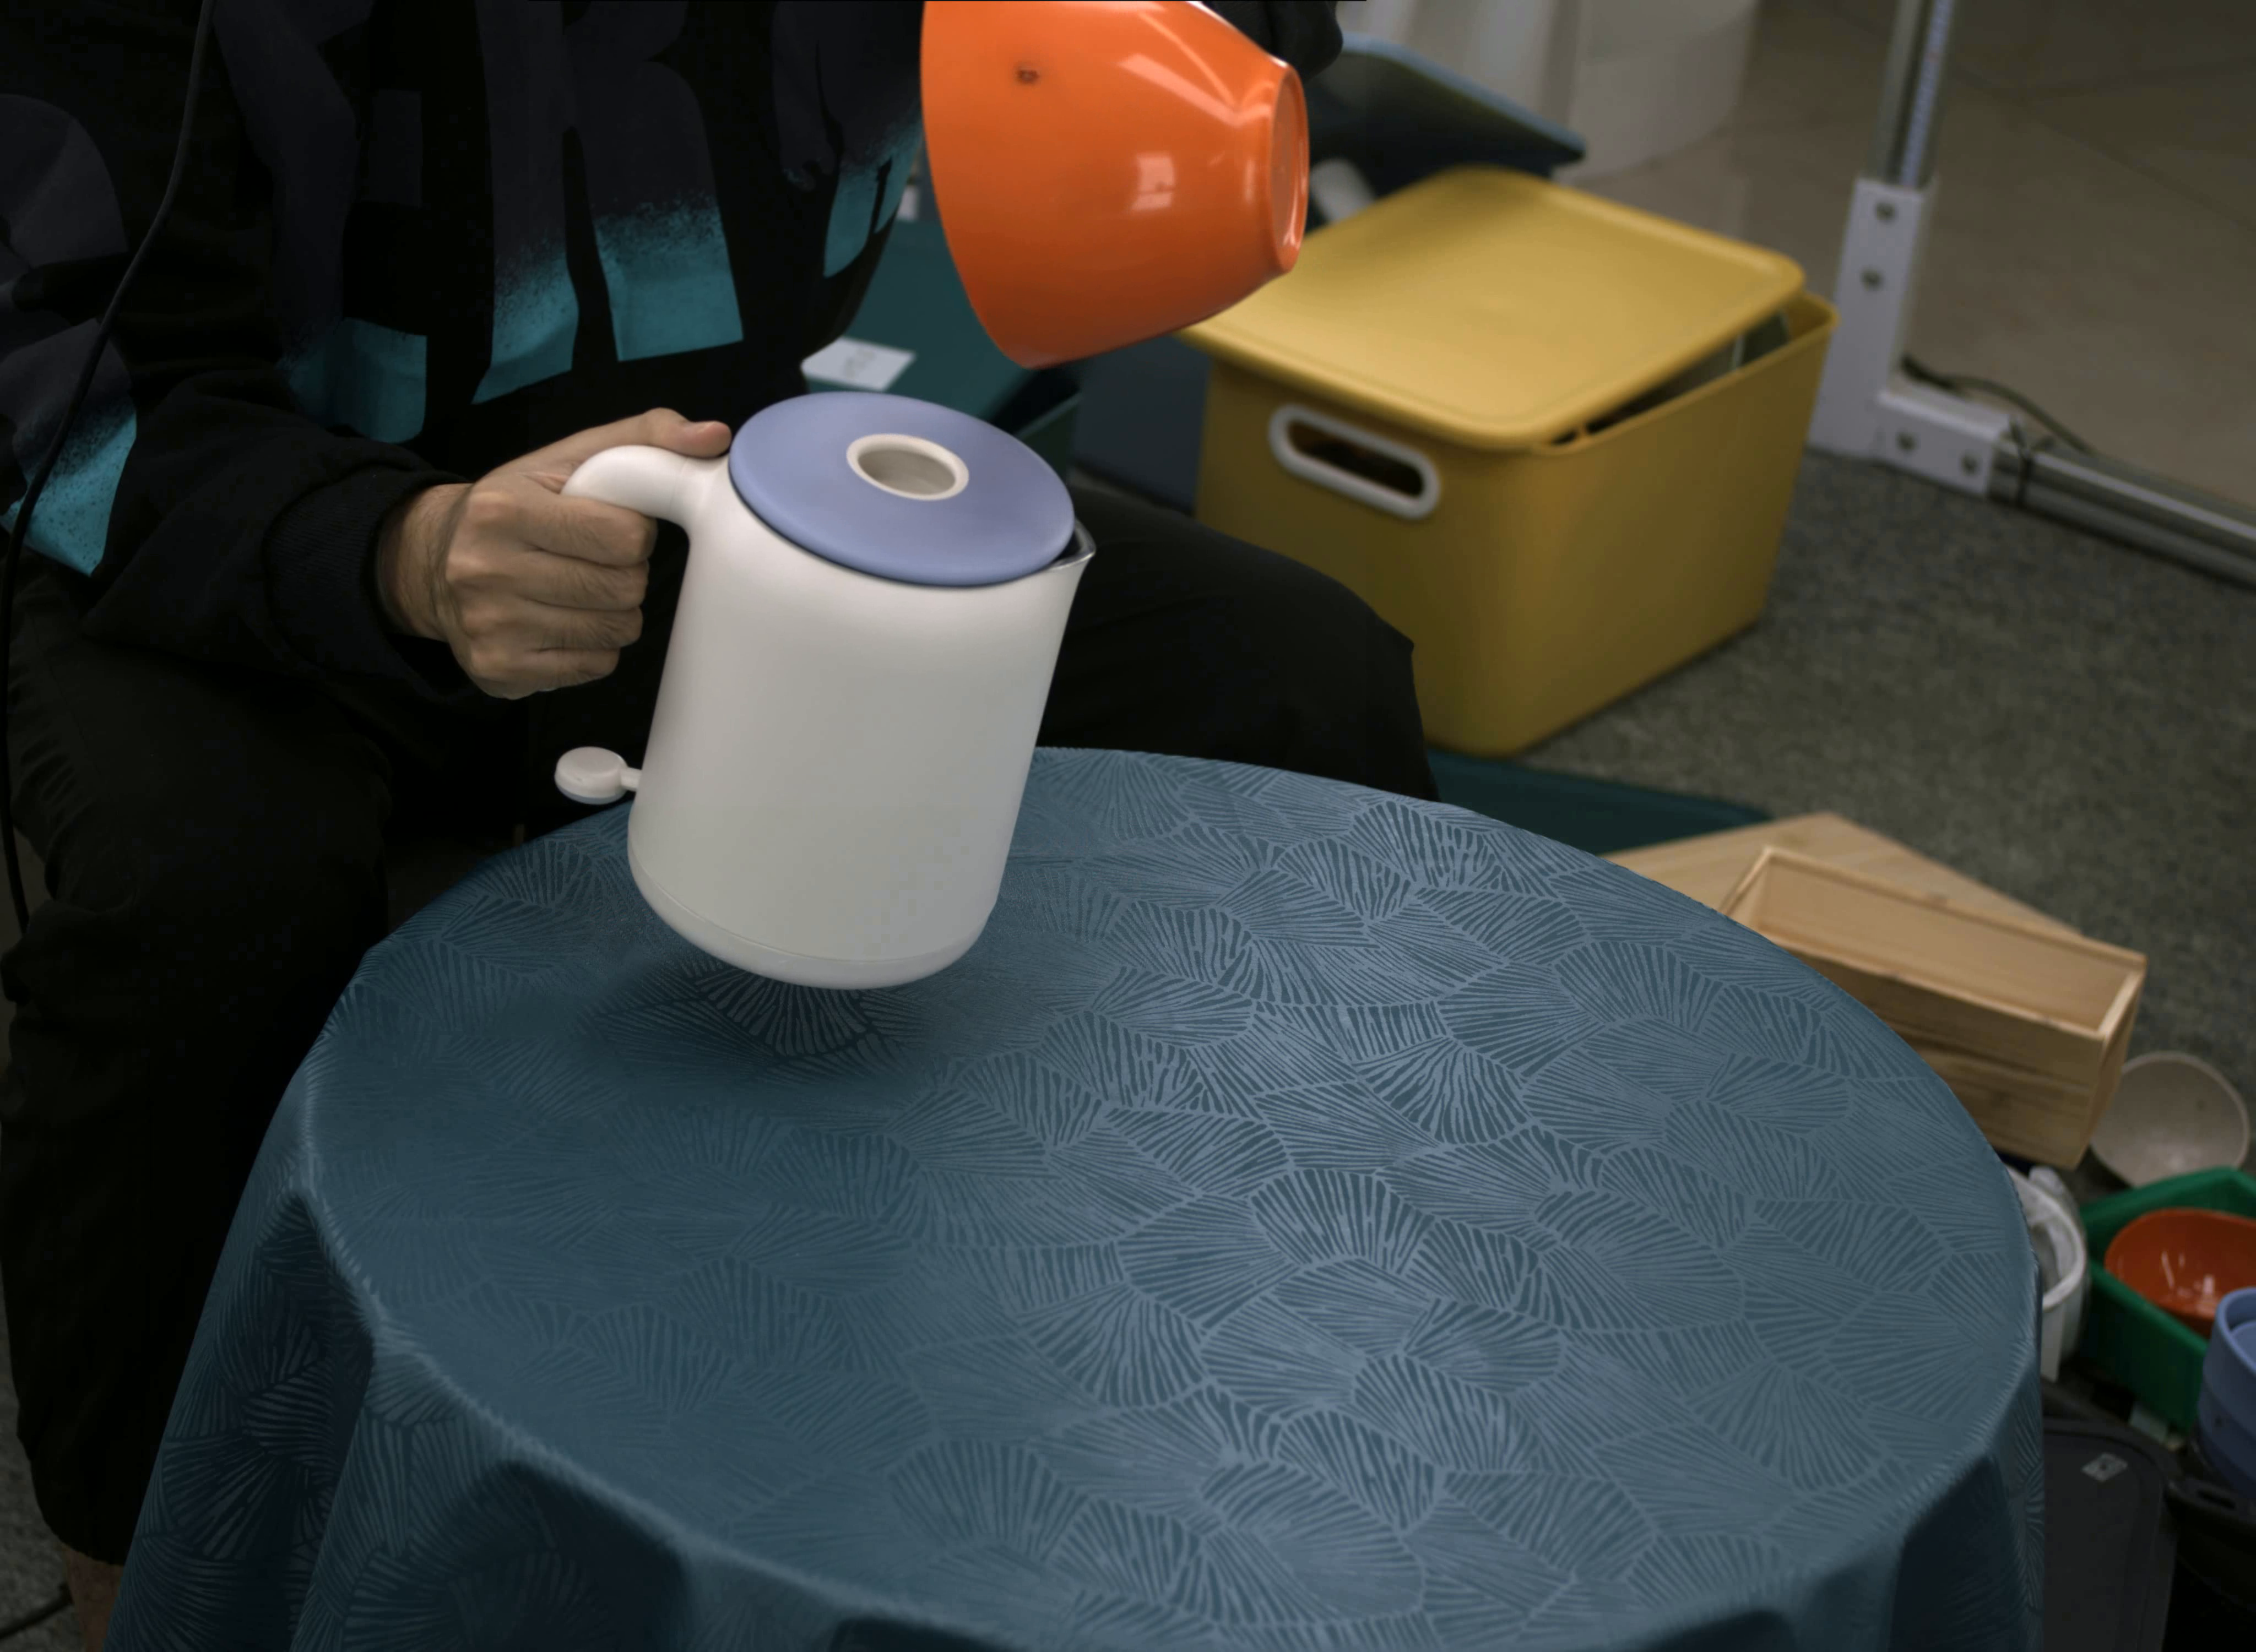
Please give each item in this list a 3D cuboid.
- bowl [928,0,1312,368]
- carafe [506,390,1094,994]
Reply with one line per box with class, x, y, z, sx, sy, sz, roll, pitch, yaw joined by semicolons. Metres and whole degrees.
bowl;0.002;-0.220;1.716;0.104;0.147;0.148;2;25;13
carafe;-0.117;-0.052;1.824;0.191;0.182;0.133;14;30;3
